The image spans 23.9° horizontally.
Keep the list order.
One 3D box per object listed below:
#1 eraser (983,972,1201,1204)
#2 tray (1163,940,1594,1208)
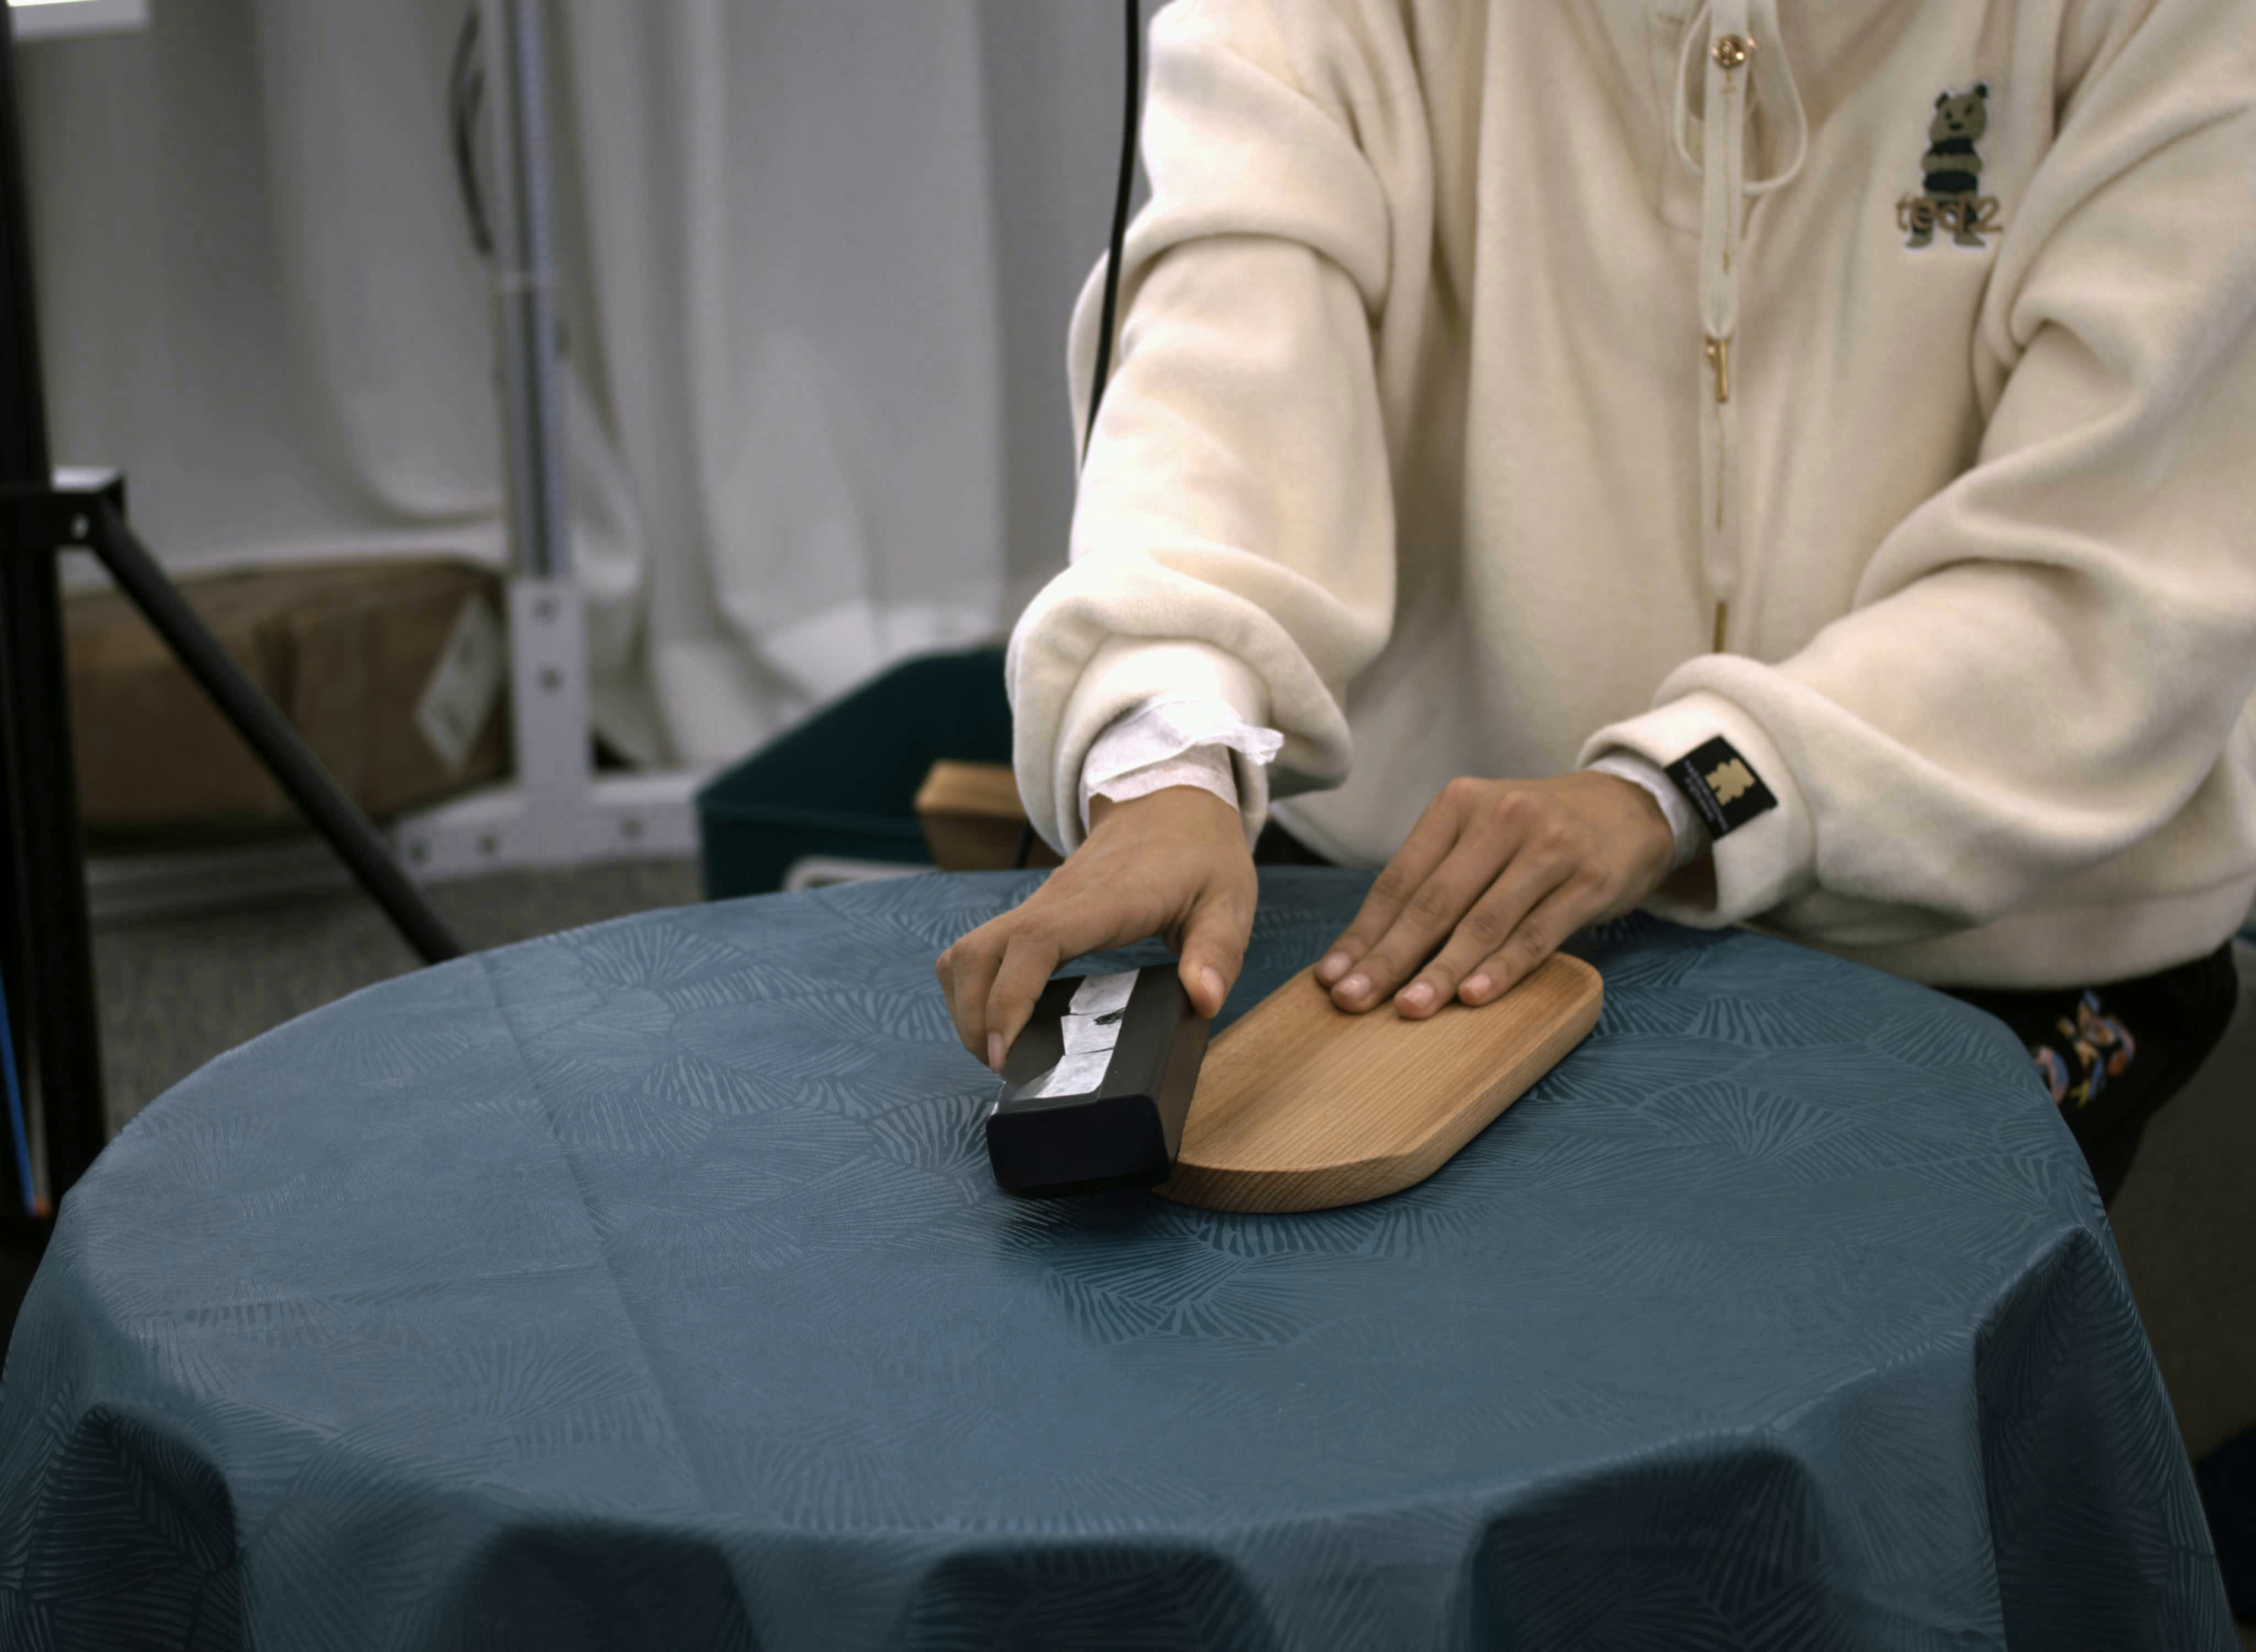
[{"bbox_3d":[-0.009,0.077,1.569,0.053,0.030,0.125,-4,17,7],"label":"eraser"},{"bbox_3d":[0.073,0.074,1.635,0.103,0.020,0.228,4,16,23],"label":"tray"}]
